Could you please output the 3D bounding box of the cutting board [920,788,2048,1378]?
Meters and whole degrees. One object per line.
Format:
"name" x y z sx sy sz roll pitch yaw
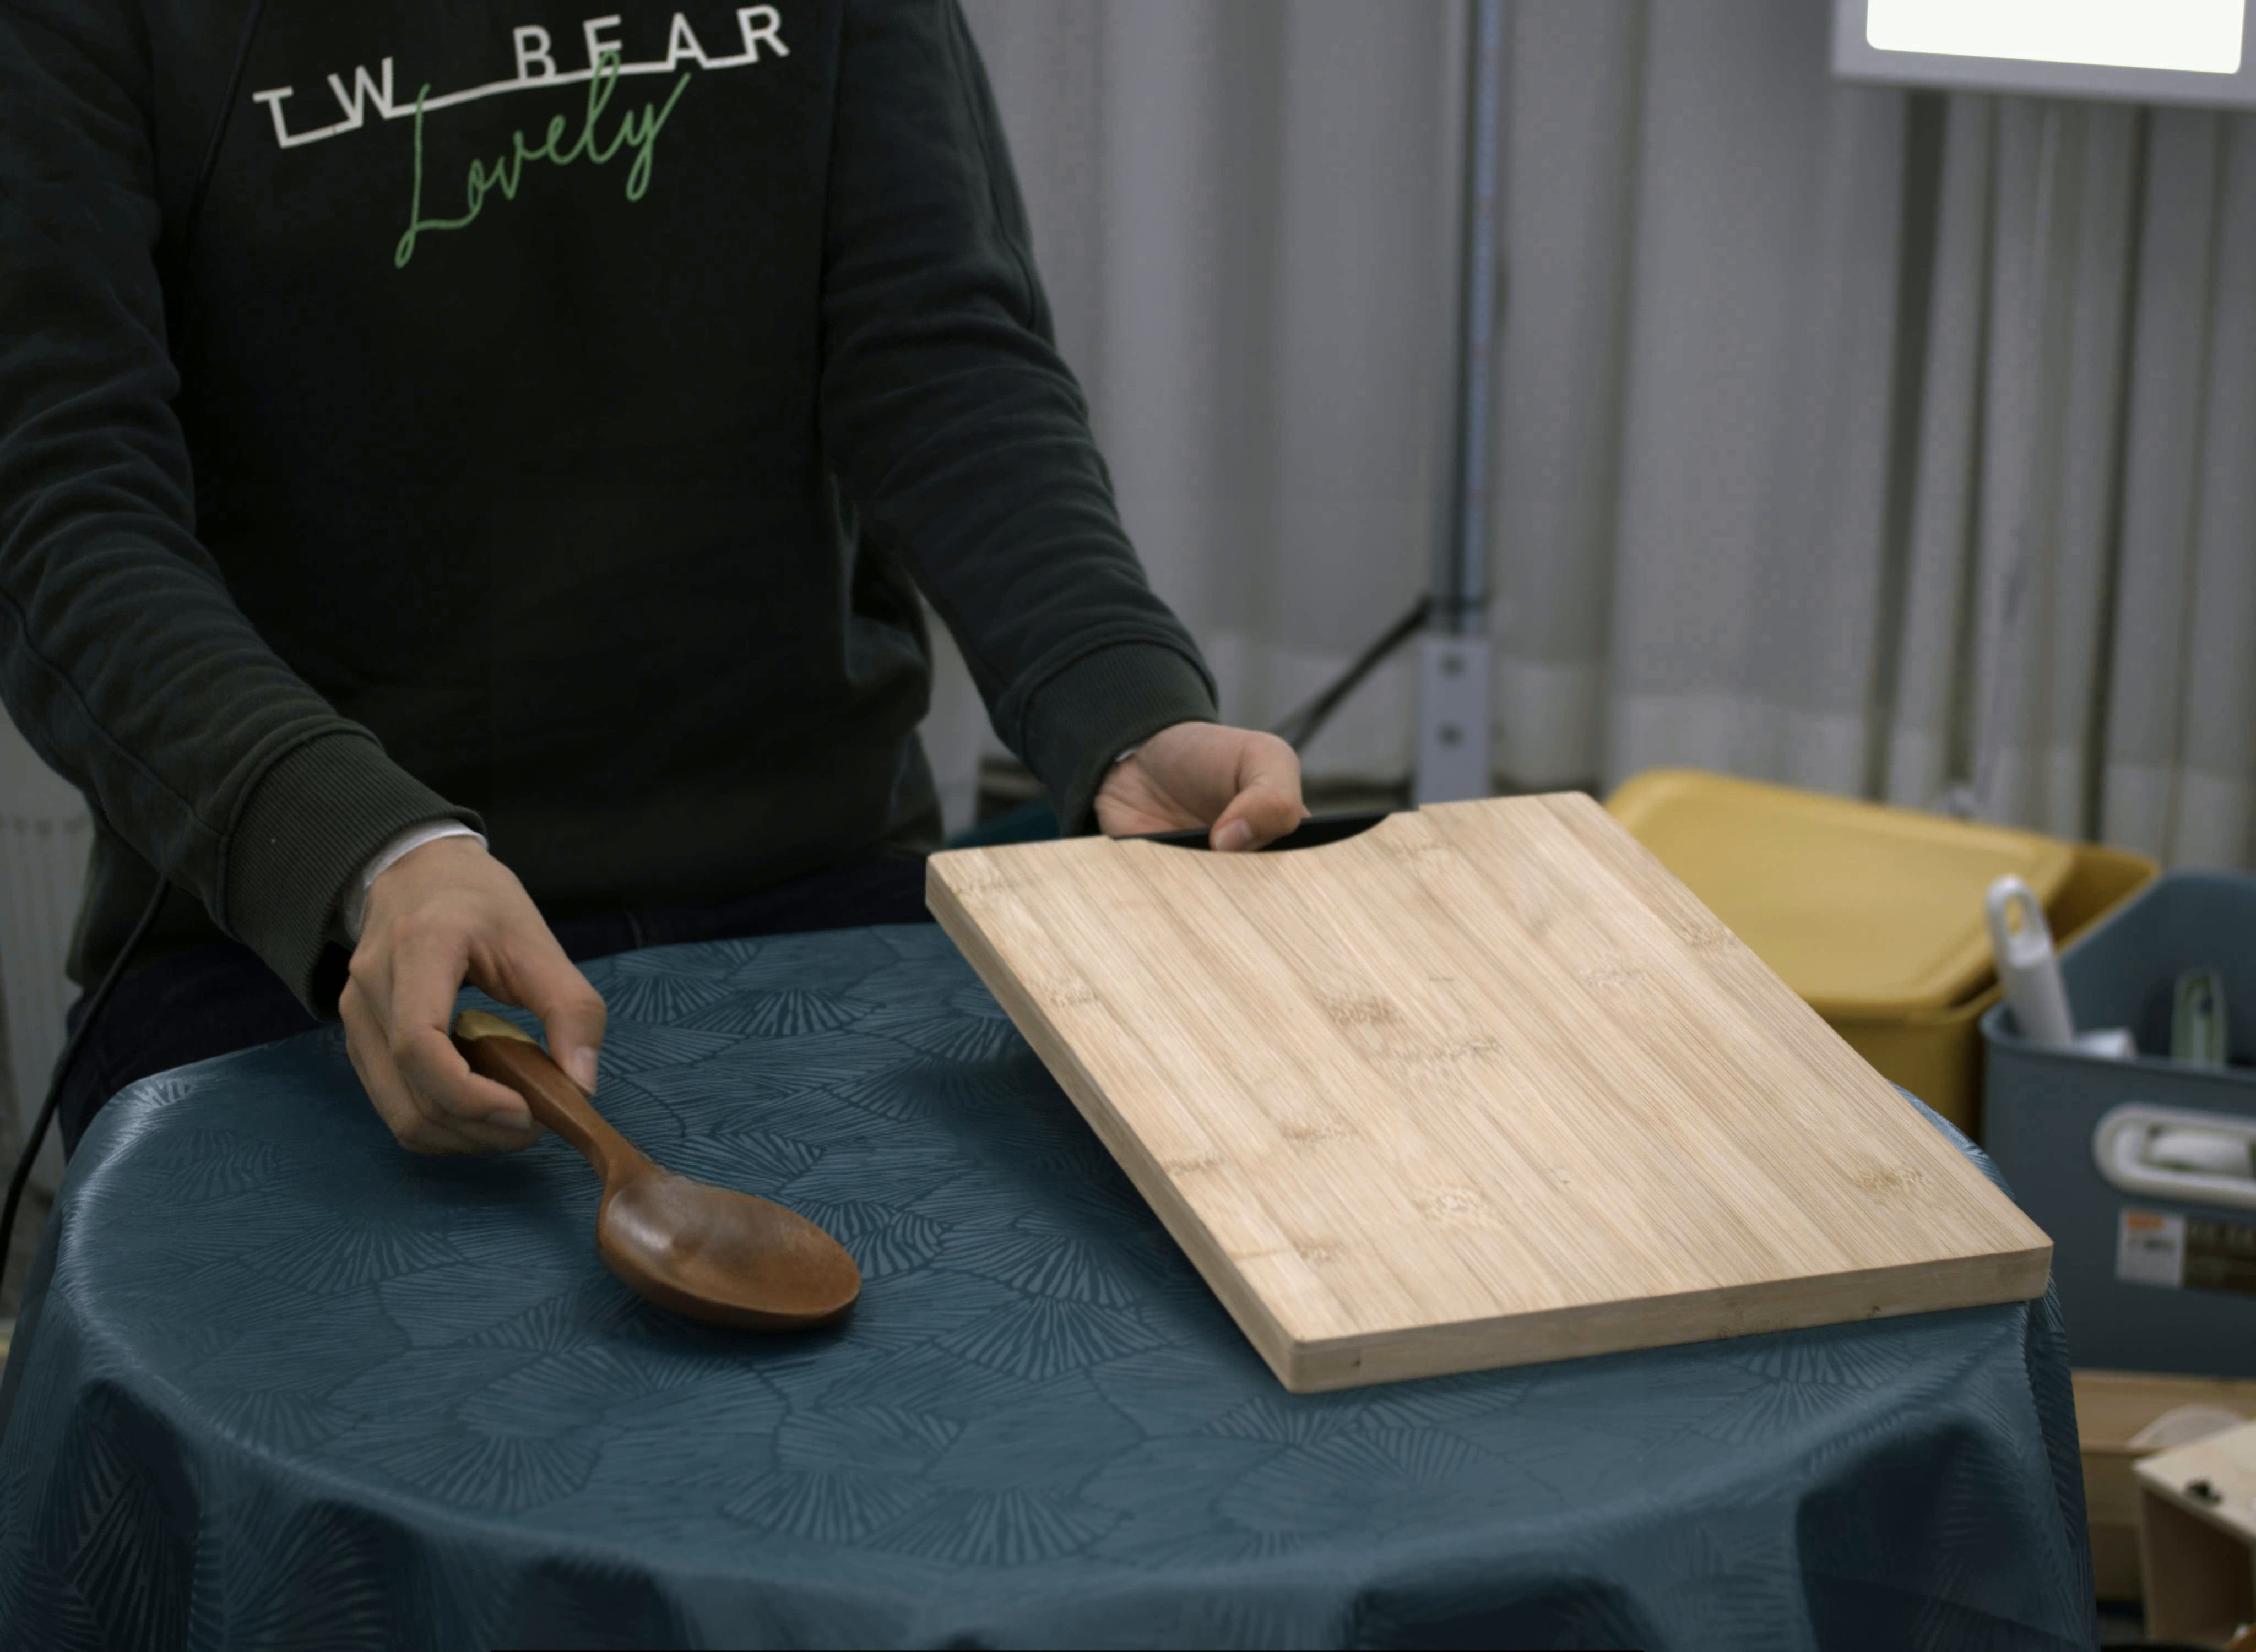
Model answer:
"cutting board" 0.100 0.072 1.649 0.251 0.024 0.344 -5 25 -21

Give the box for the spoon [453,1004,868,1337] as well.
"spoon" -0.148 0.103 1.570 0.076 0.017 0.213 -3 25 -33
